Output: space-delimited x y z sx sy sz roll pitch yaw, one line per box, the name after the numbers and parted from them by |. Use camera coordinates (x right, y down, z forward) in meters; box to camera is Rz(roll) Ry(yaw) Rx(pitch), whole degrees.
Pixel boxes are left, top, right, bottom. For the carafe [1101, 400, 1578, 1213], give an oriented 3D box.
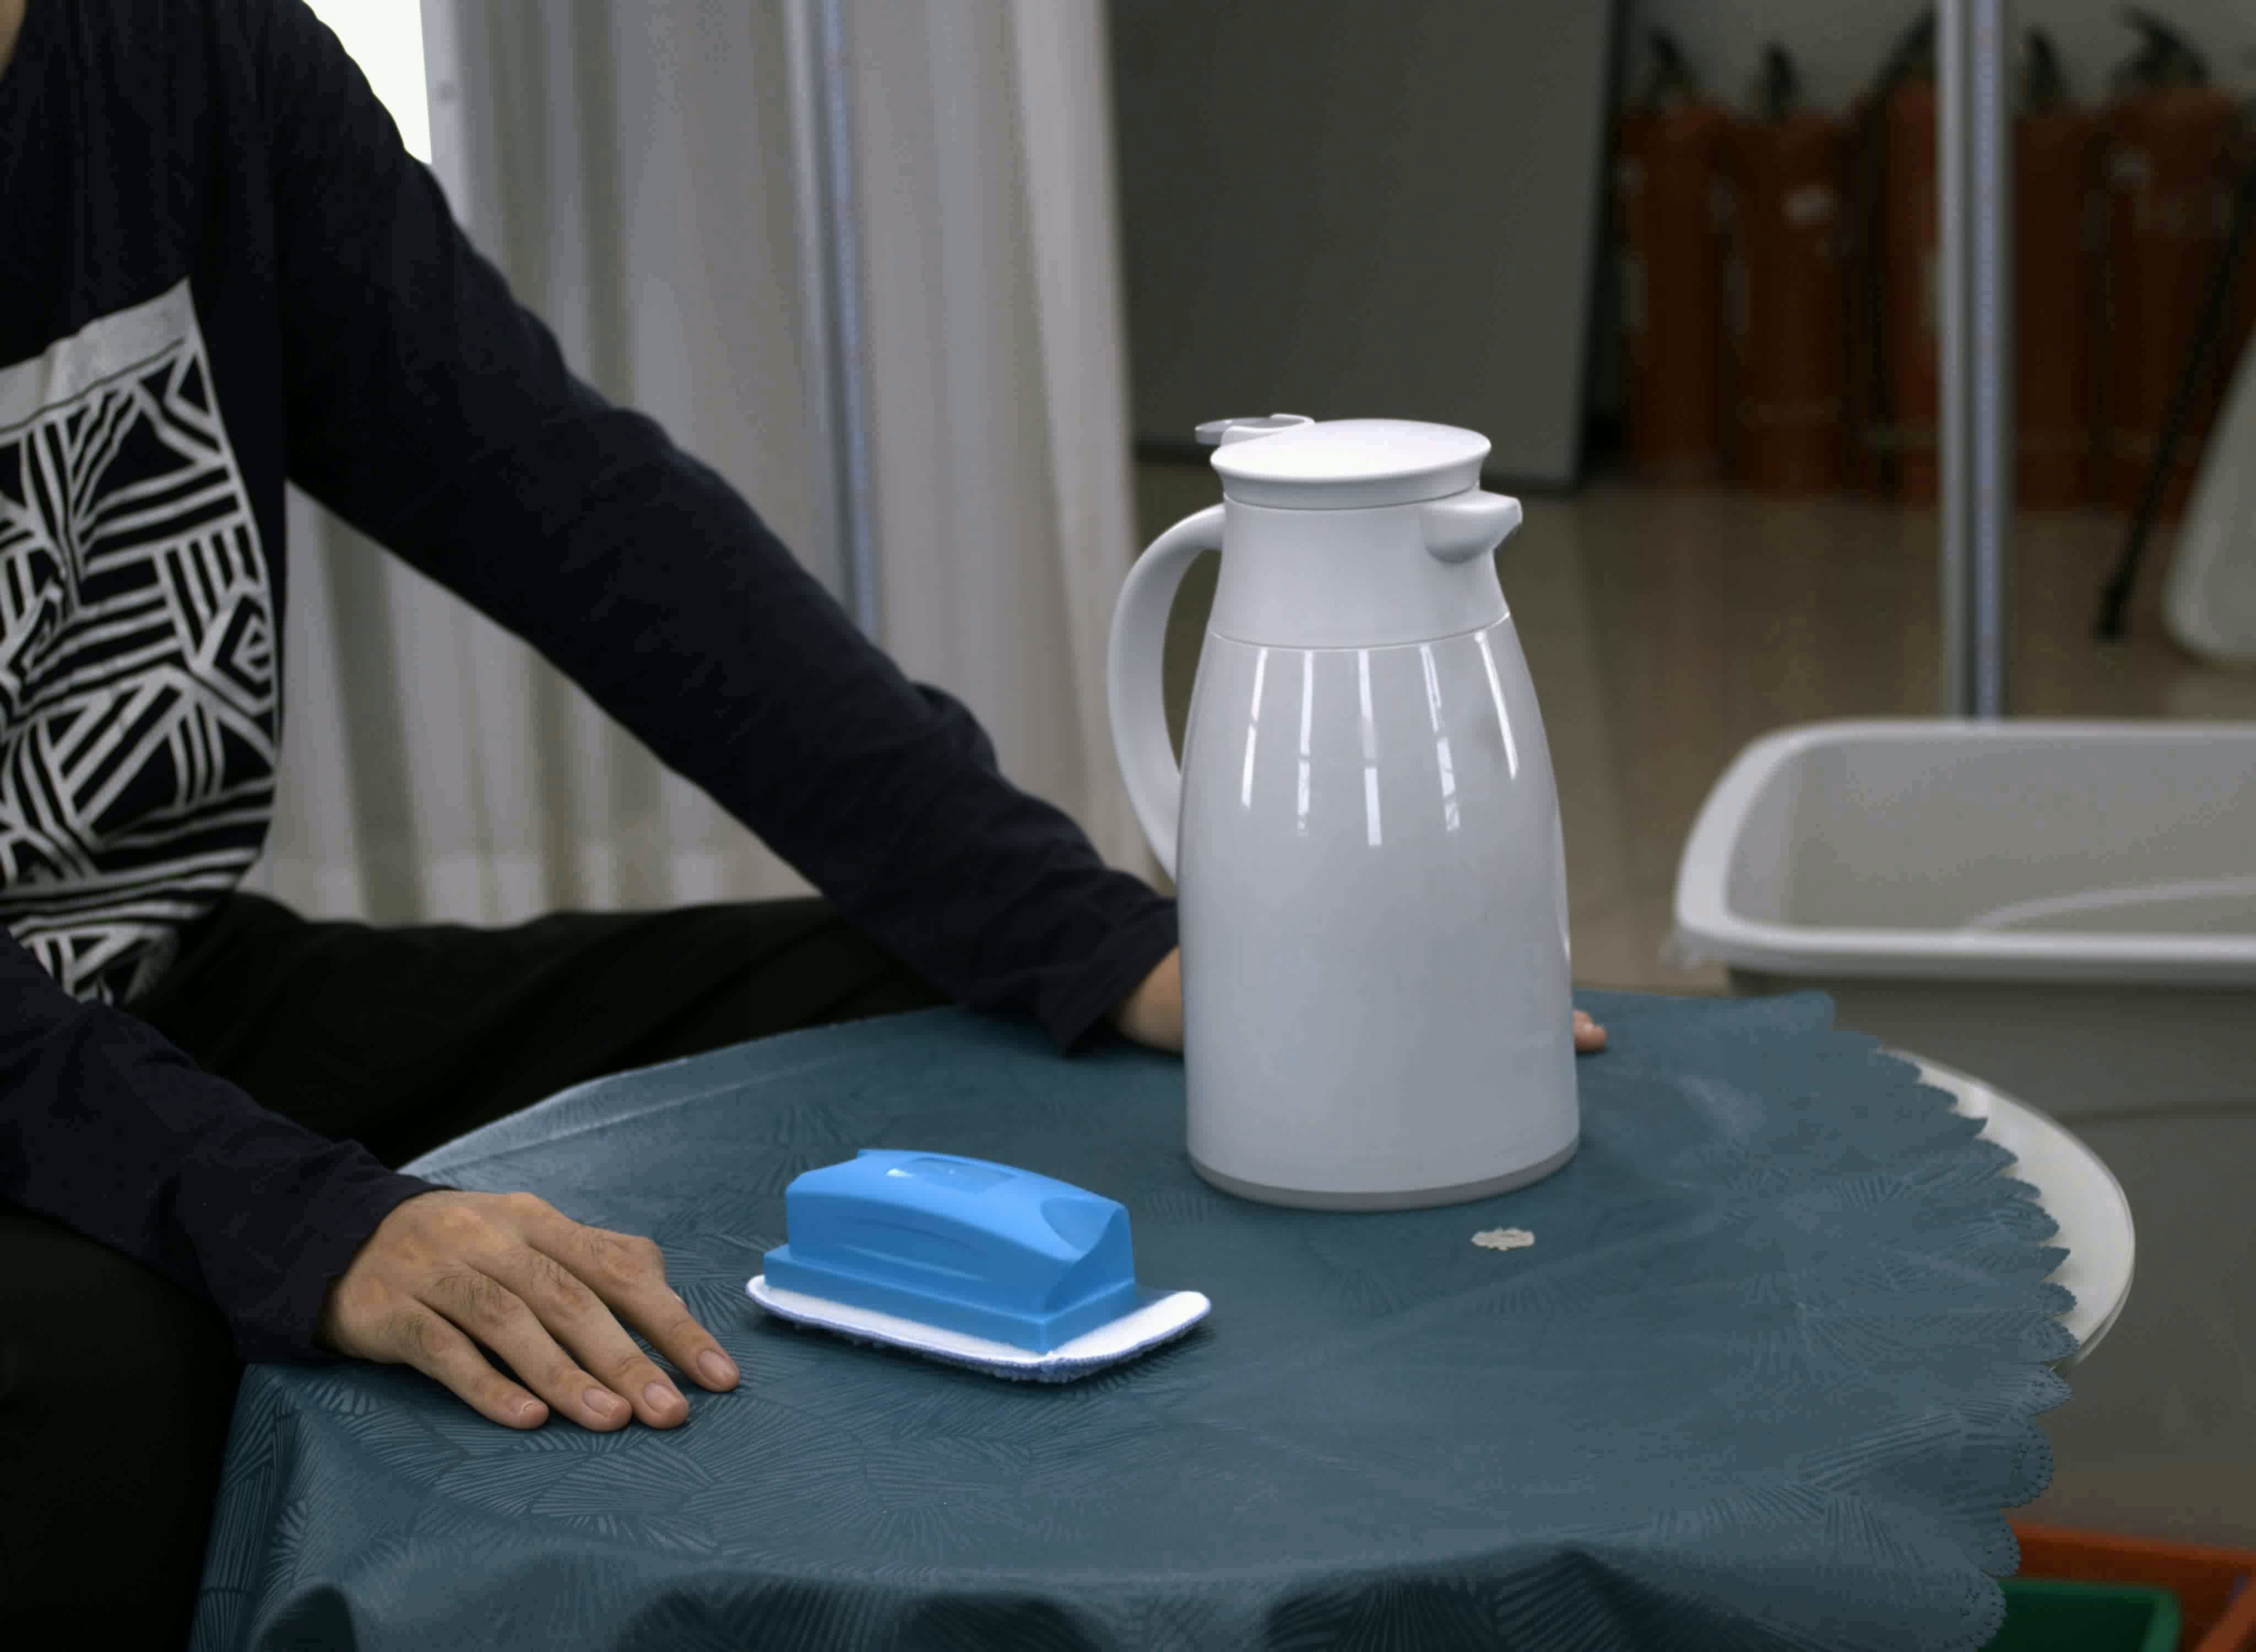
0.062 -0.013 1.780 0.169 0.251 0.130 6 16 39 | carafe

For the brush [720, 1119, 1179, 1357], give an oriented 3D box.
-0.054 0.124 1.651 0.082 0.056 0.145 -13 18 -43 | brush
